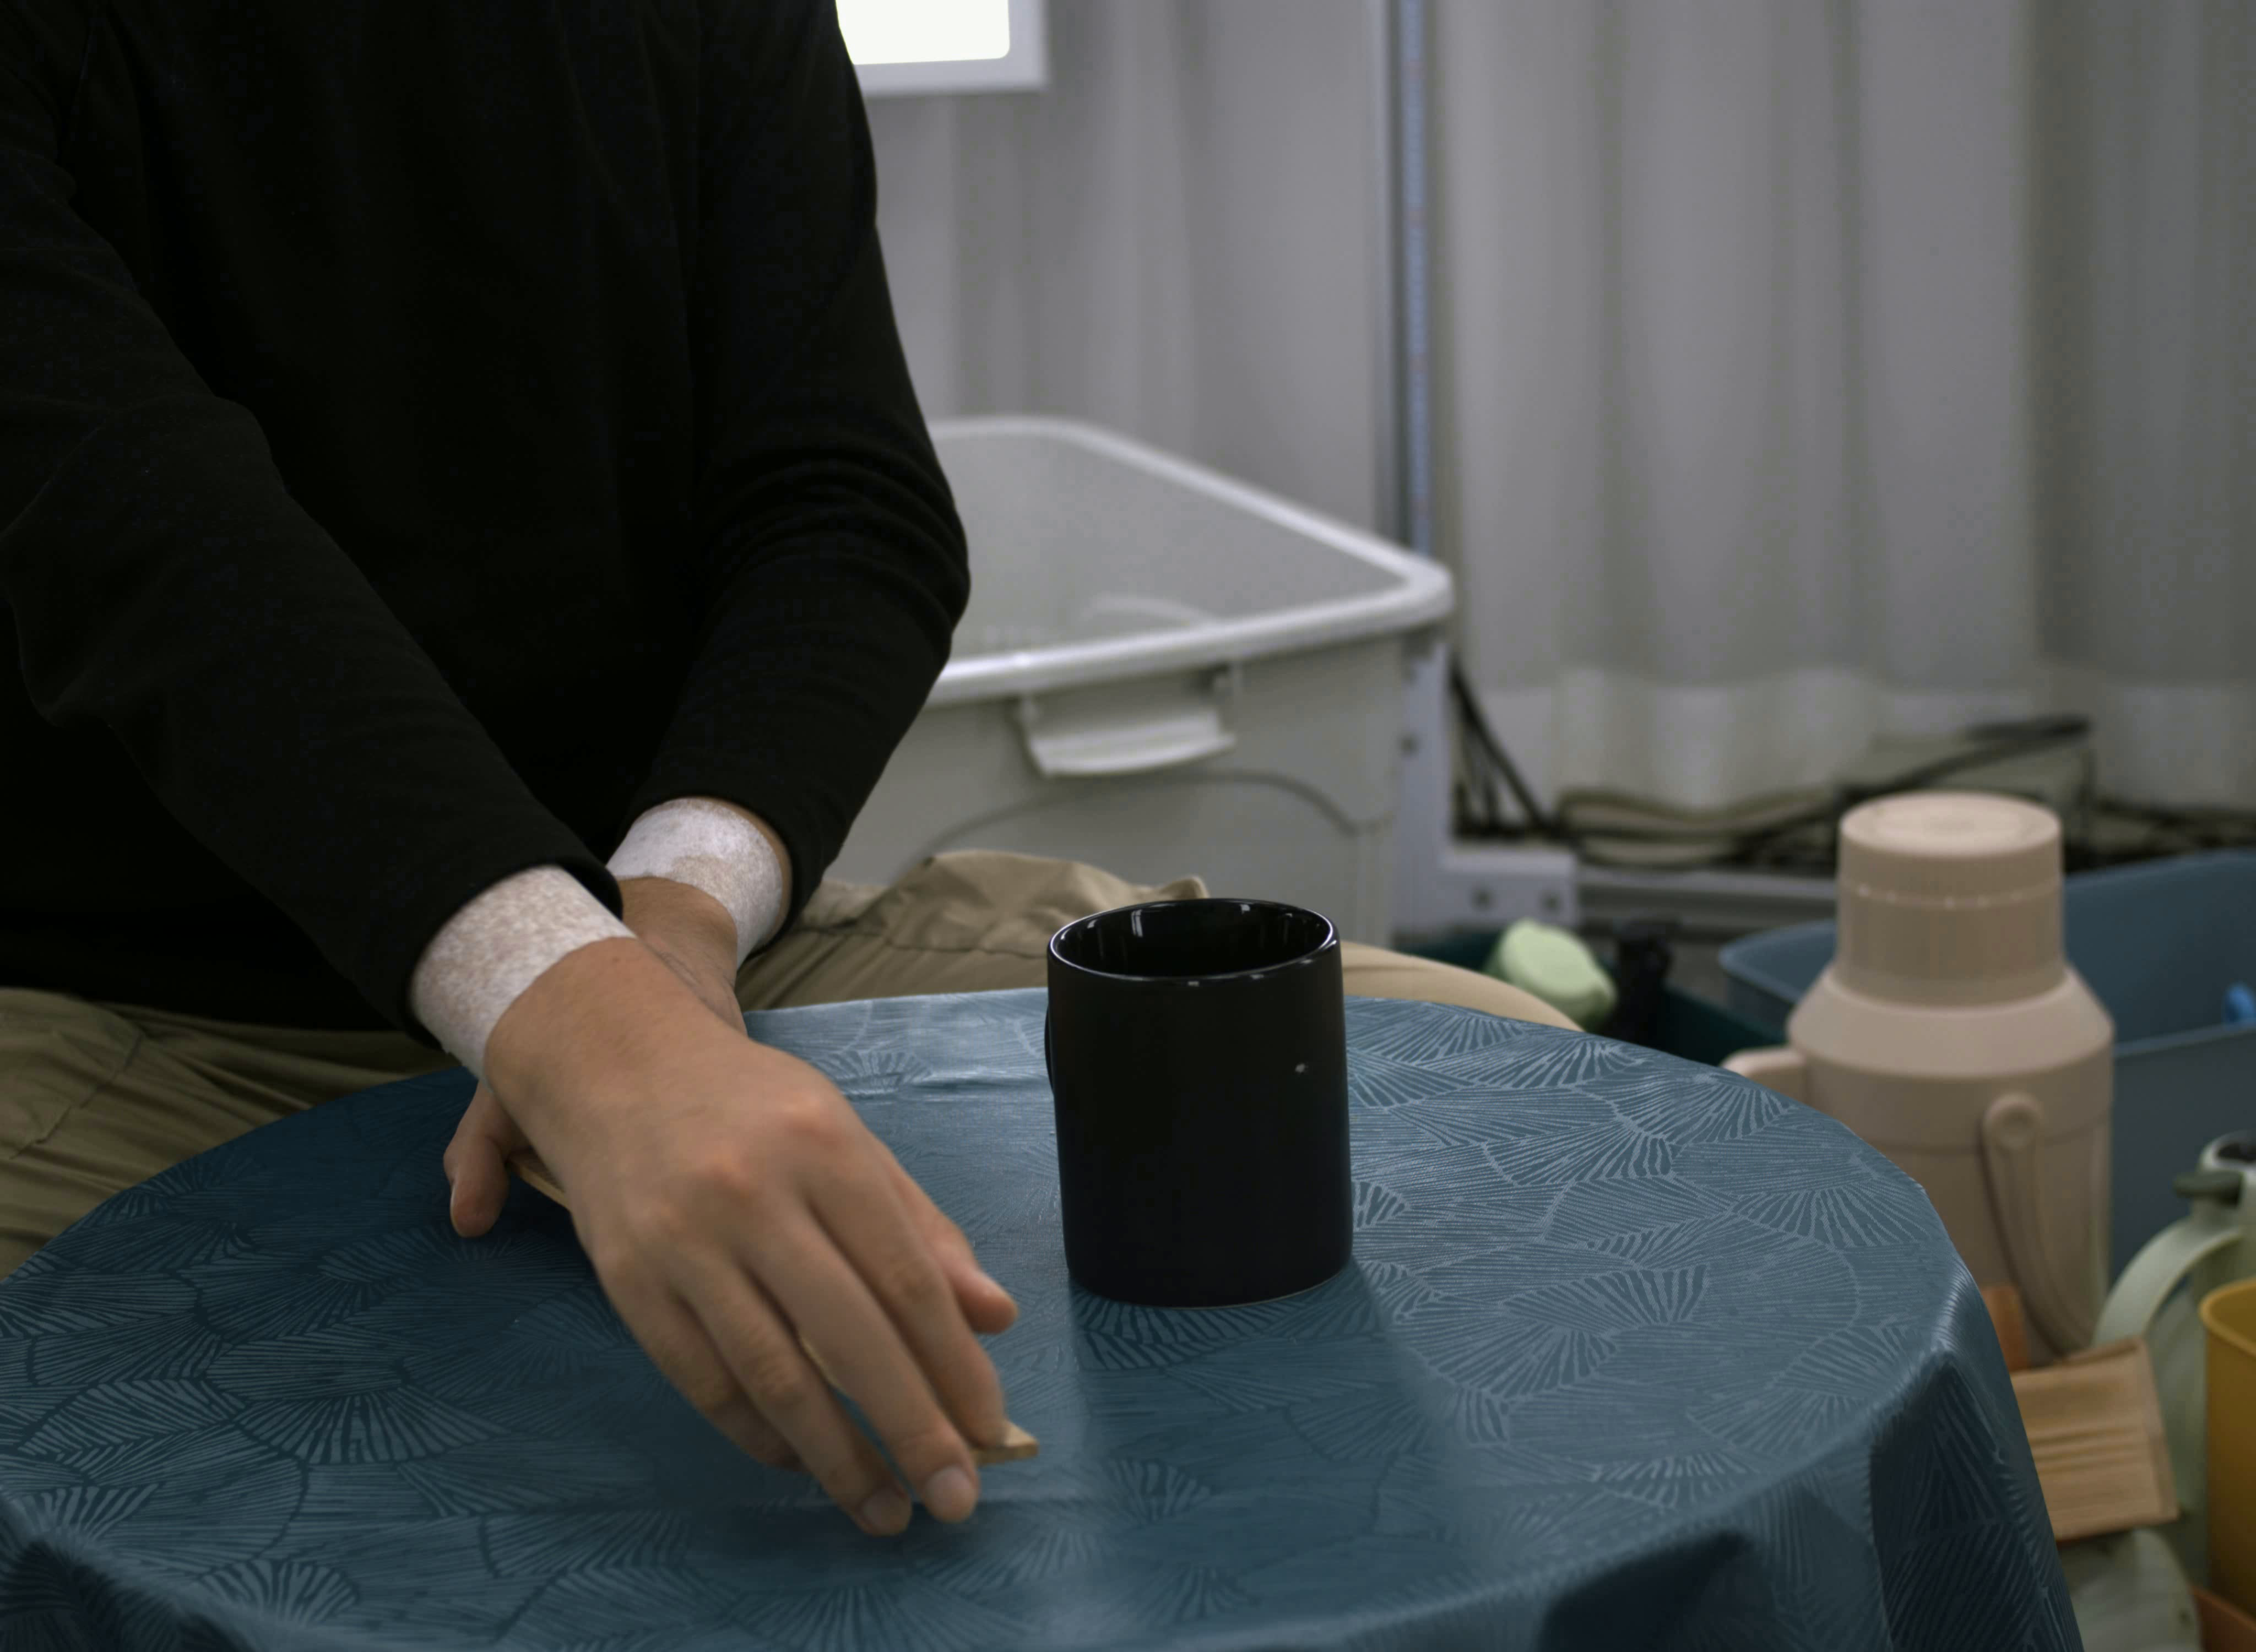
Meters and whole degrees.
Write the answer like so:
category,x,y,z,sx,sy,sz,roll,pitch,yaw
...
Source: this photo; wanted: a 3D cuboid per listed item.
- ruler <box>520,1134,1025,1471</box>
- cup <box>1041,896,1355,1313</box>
category,x,y,z,sx,sy,sz,roll,pitch,yaw
ruler,-0.110,0.132,1.584,0.027,0.022,0.334,-4,12,-25
cup,0.012,0.079,1.649,0.088,0.105,0.124,-13,16,-29
